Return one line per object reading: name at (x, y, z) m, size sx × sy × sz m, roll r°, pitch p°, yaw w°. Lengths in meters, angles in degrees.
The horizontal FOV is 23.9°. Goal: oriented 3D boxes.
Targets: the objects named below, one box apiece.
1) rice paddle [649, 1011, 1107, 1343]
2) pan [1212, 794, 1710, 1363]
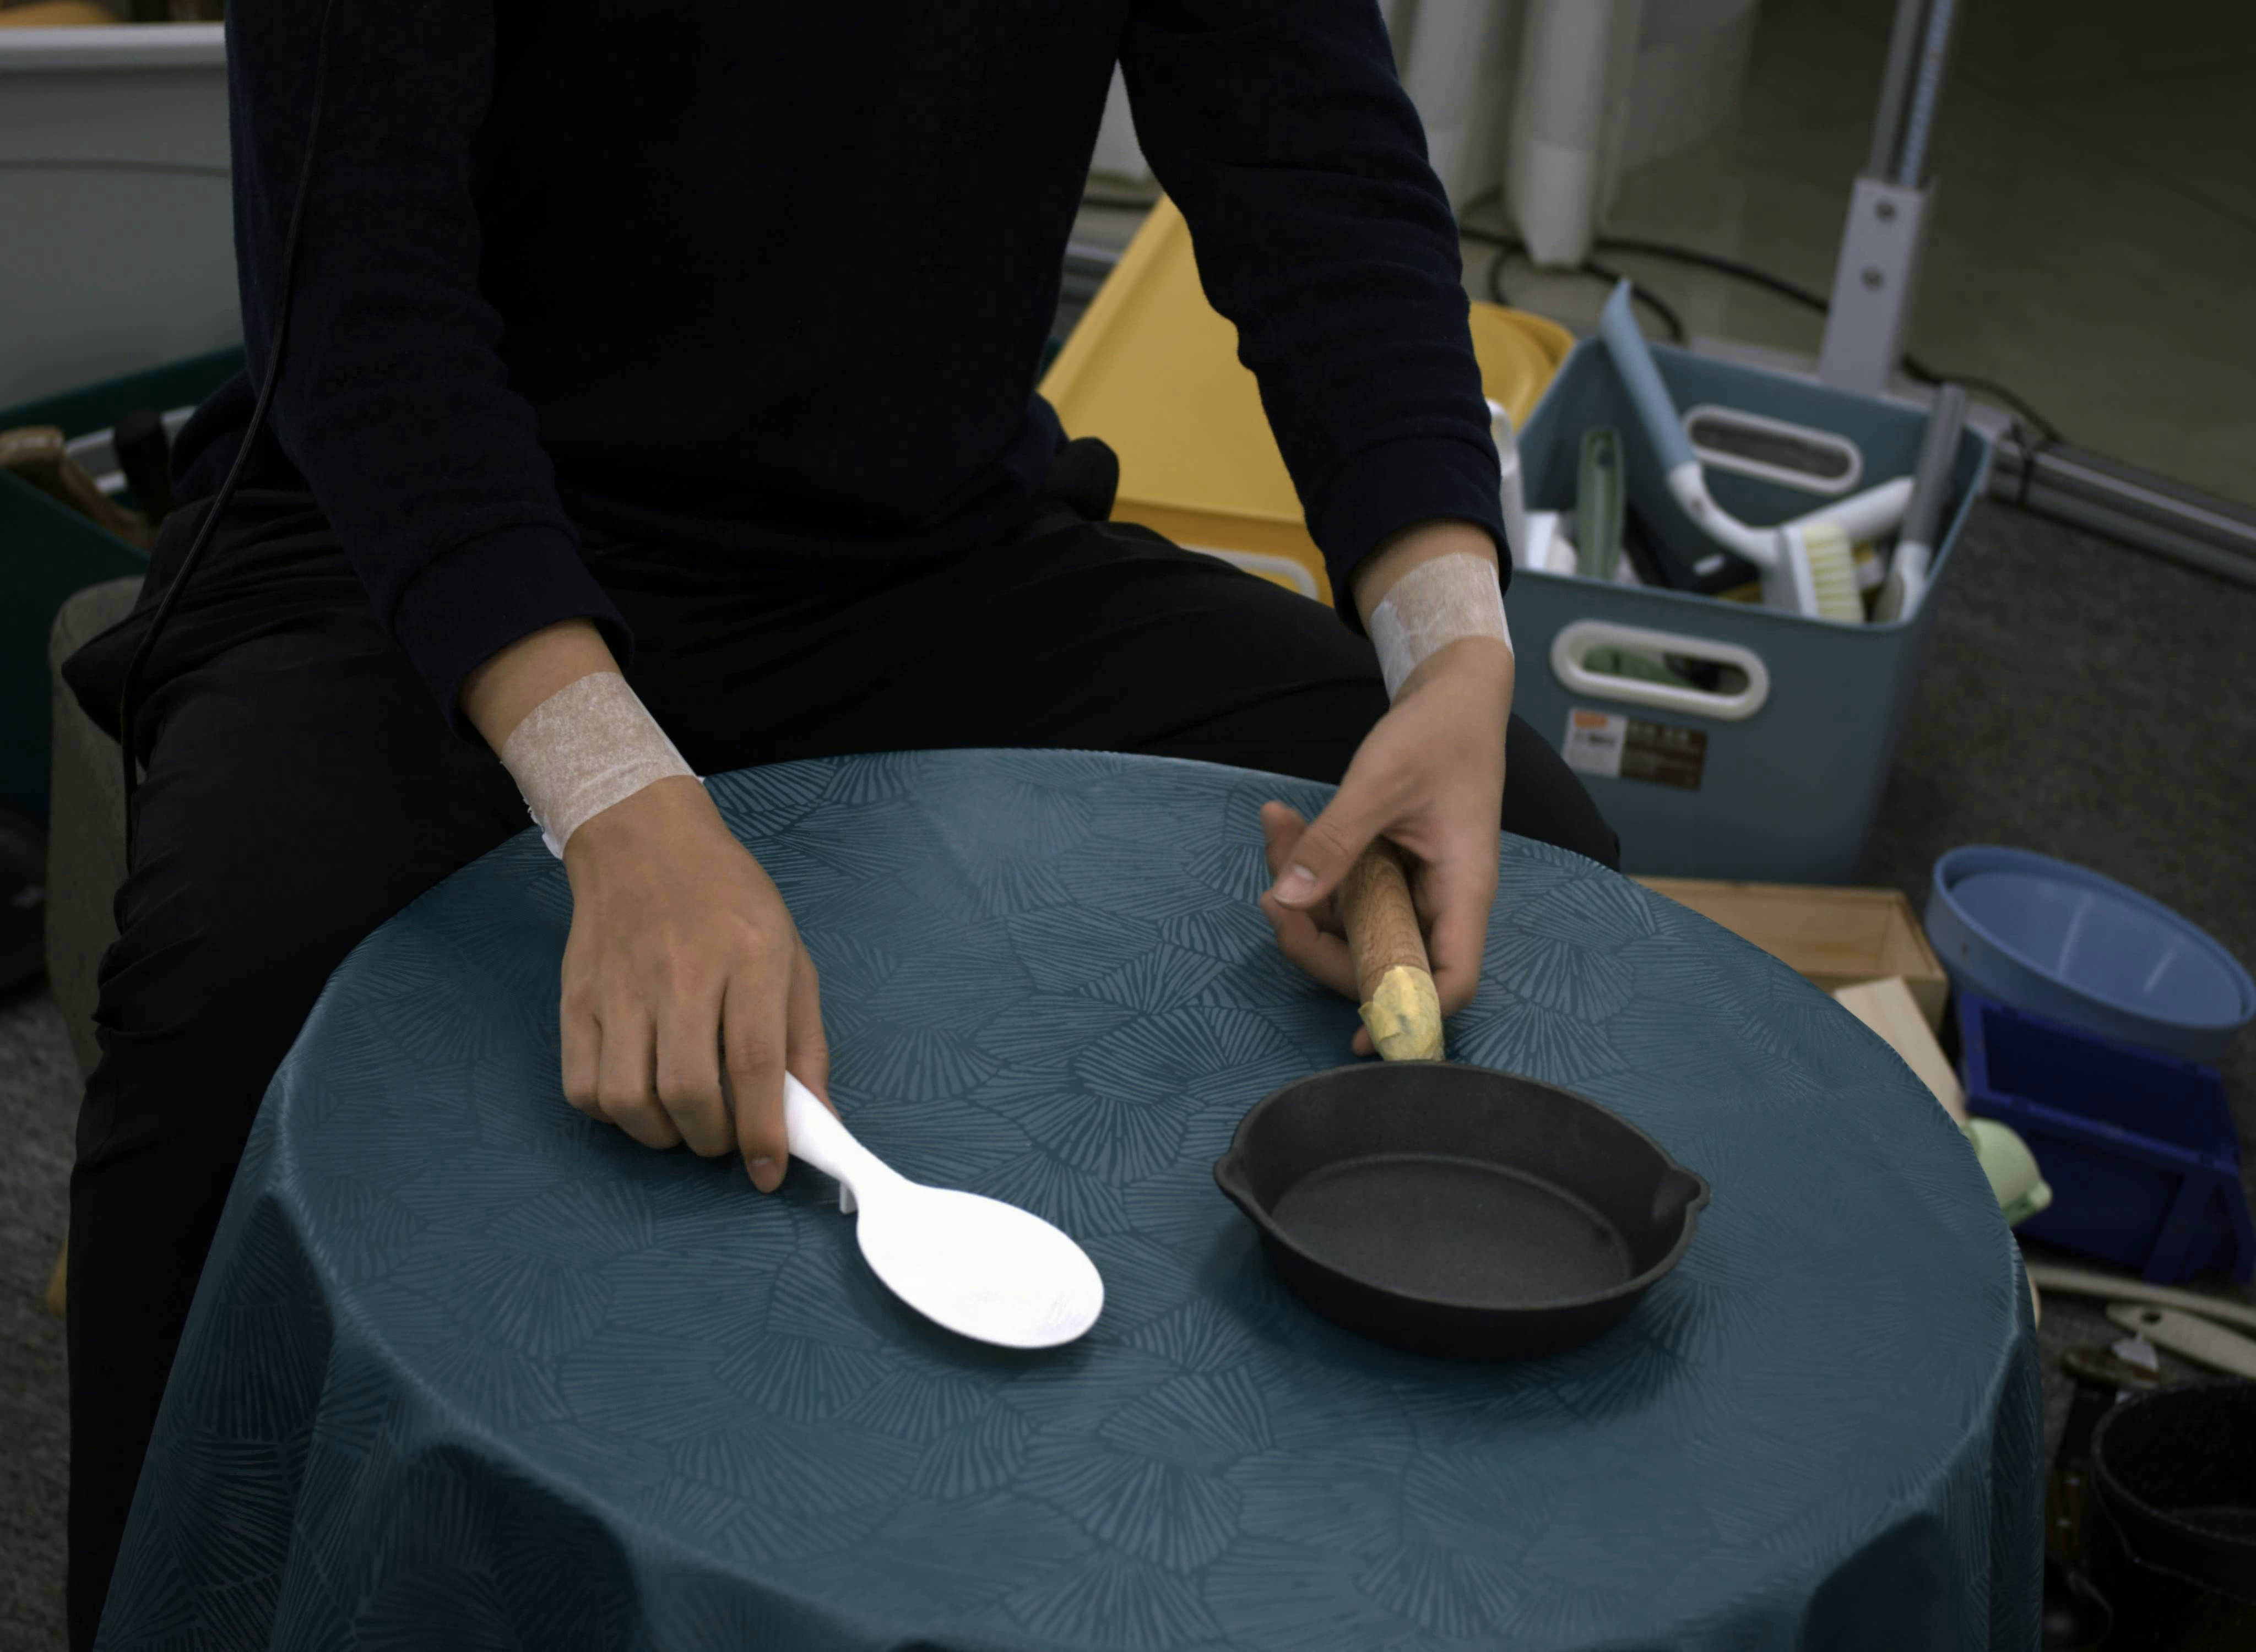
rice paddle at (-0.084, 0.118, 1.762) m, size 0.068 × 0.029 × 0.207 m, roll -21°, pitch 38°, yaw -37°
pan at (0.103, 0.084, 1.847) m, size 0.168 × 0.049 × 0.326 m, roll 3°, pitch 29°, yaw -7°
